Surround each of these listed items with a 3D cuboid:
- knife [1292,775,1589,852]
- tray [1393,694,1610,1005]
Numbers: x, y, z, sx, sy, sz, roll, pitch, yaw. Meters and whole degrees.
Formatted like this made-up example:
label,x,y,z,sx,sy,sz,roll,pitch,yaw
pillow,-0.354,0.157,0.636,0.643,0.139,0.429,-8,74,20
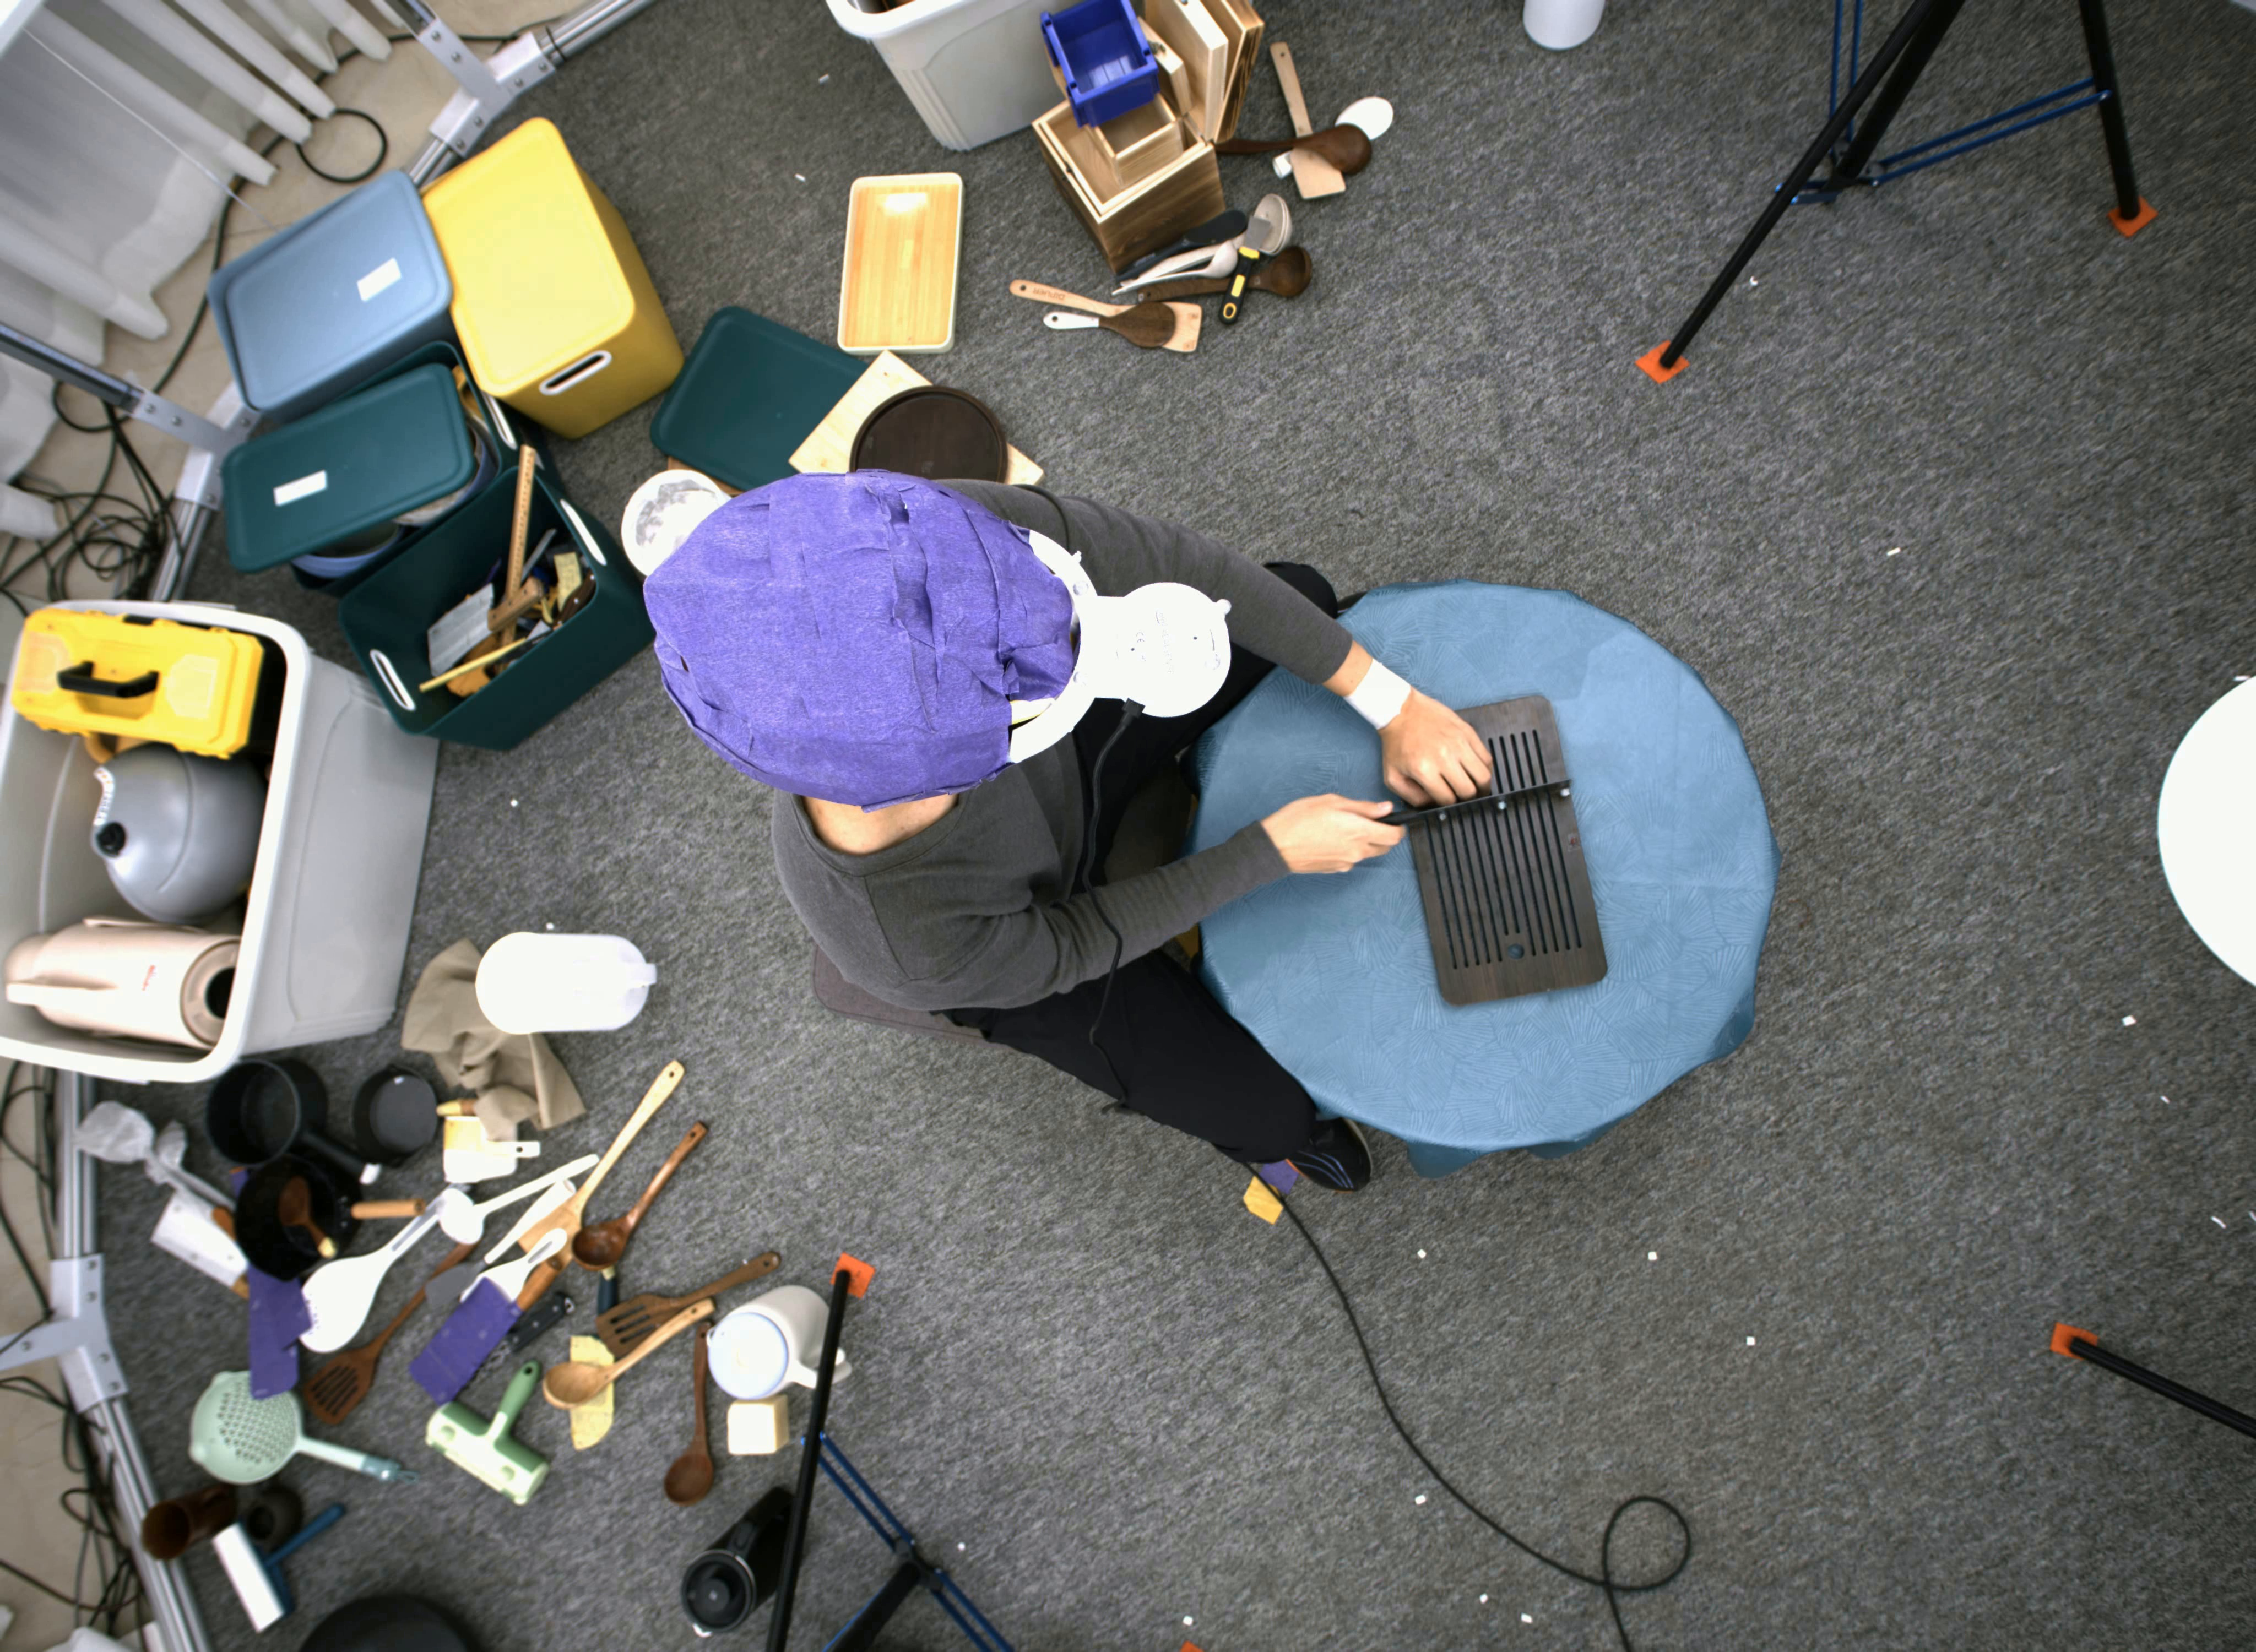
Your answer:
label,x,y,z,sx,sy,sz,roll,pitch,yaw
knife,0.316,-0.015,1.397,0.303,0.081,0.020,-13,79,4
tray,0.387,0.022,1.431,0.171,0.018,0.304,-11,84,11
